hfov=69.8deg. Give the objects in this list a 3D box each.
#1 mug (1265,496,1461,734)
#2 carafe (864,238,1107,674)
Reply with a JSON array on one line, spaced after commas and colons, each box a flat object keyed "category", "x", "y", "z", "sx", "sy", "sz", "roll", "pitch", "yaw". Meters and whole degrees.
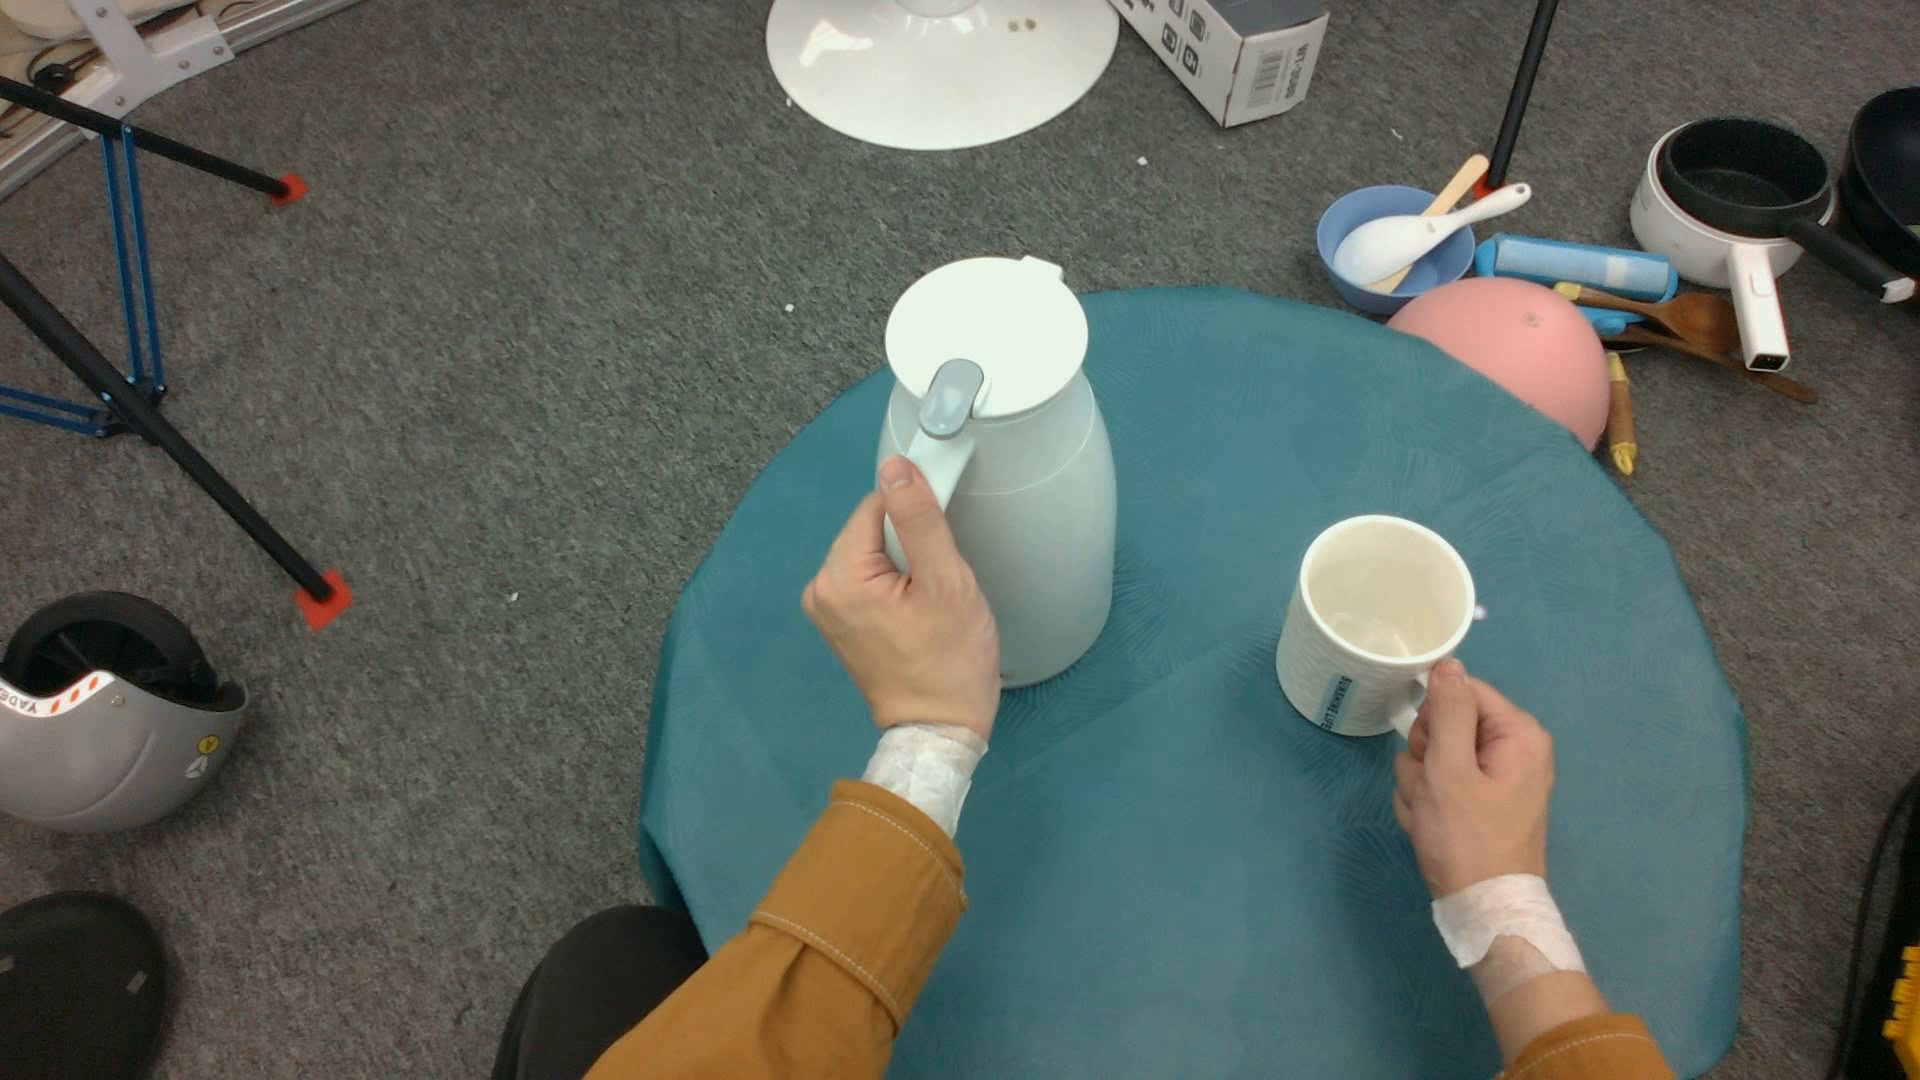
[{"category": "mug", "x": 0.220, "y": 0.050, "z": 0.735, "sx": 0.085, "sy": 0.101, "sz": 0.118, "roll": -26, "pitch": 62, "yaw": -11}, {"category": "carafe", "x": 0.006, "y": -0.026, "z": 0.707, "sx": 0.132, "sy": 0.247, "sz": 0.168, "roll": 20, "pitch": 63, "yaw": 13}]
